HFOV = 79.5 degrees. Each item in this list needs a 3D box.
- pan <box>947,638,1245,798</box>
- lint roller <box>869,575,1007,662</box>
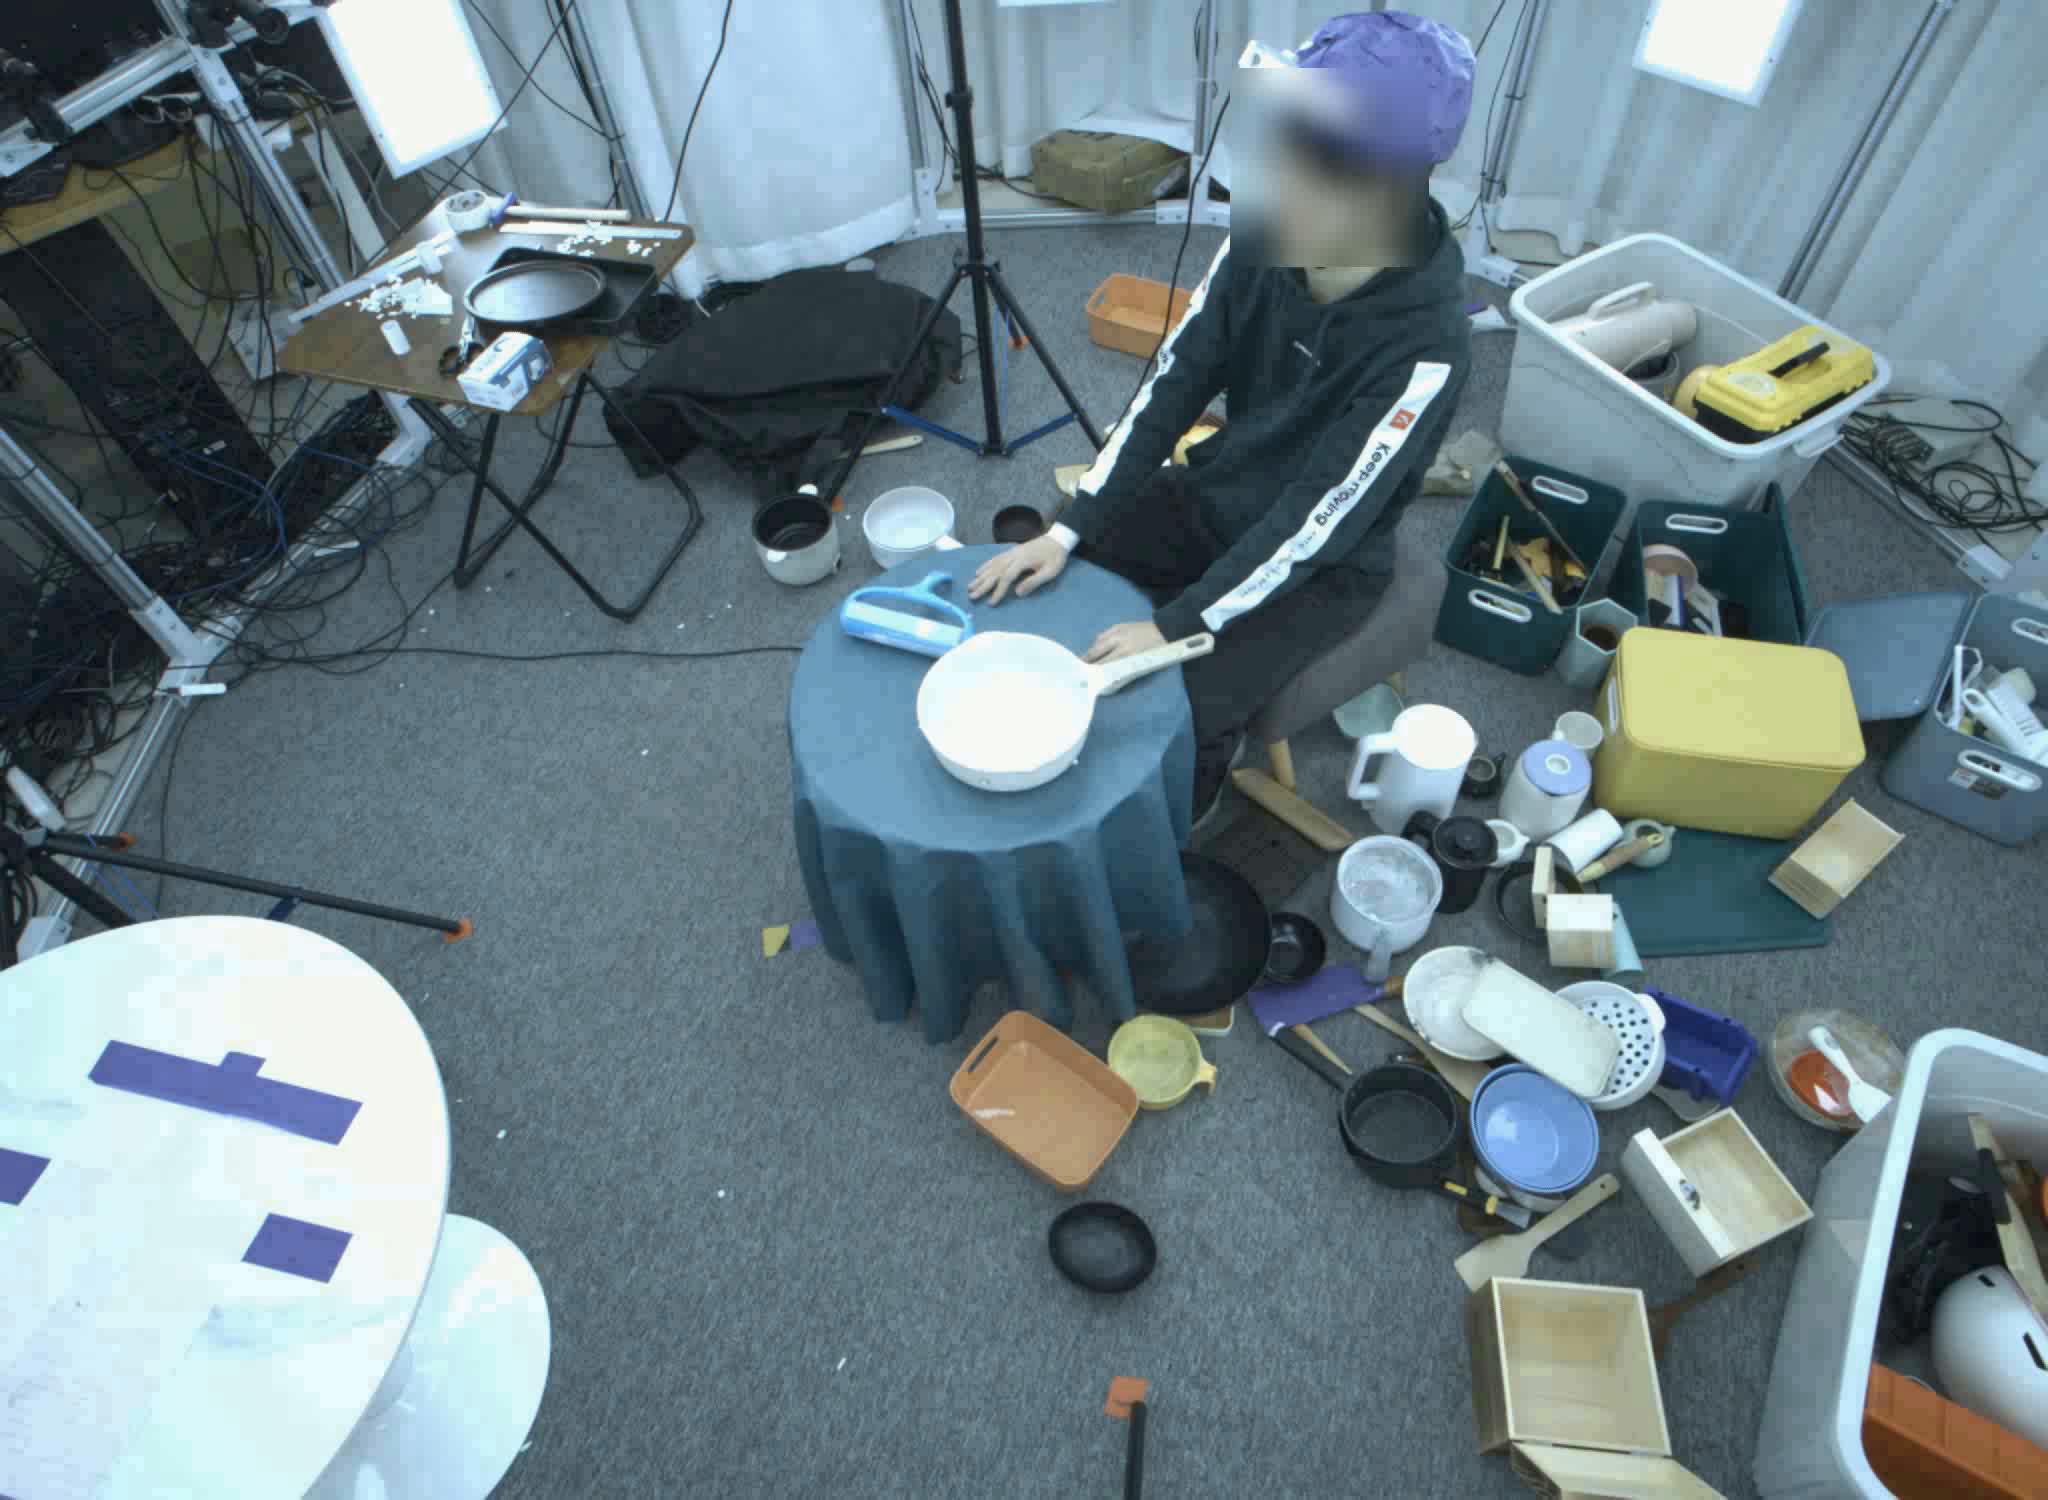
[{"bbox_3d":[0.108,-0.065,1.764,0.437,0.103,0.259,-13,54,-8],"label":"pan"},{"bbox_3d":[-0.113,-0.226,1.912,0.226,0.069,0.180,14,56,14],"label":"lint roller"}]
